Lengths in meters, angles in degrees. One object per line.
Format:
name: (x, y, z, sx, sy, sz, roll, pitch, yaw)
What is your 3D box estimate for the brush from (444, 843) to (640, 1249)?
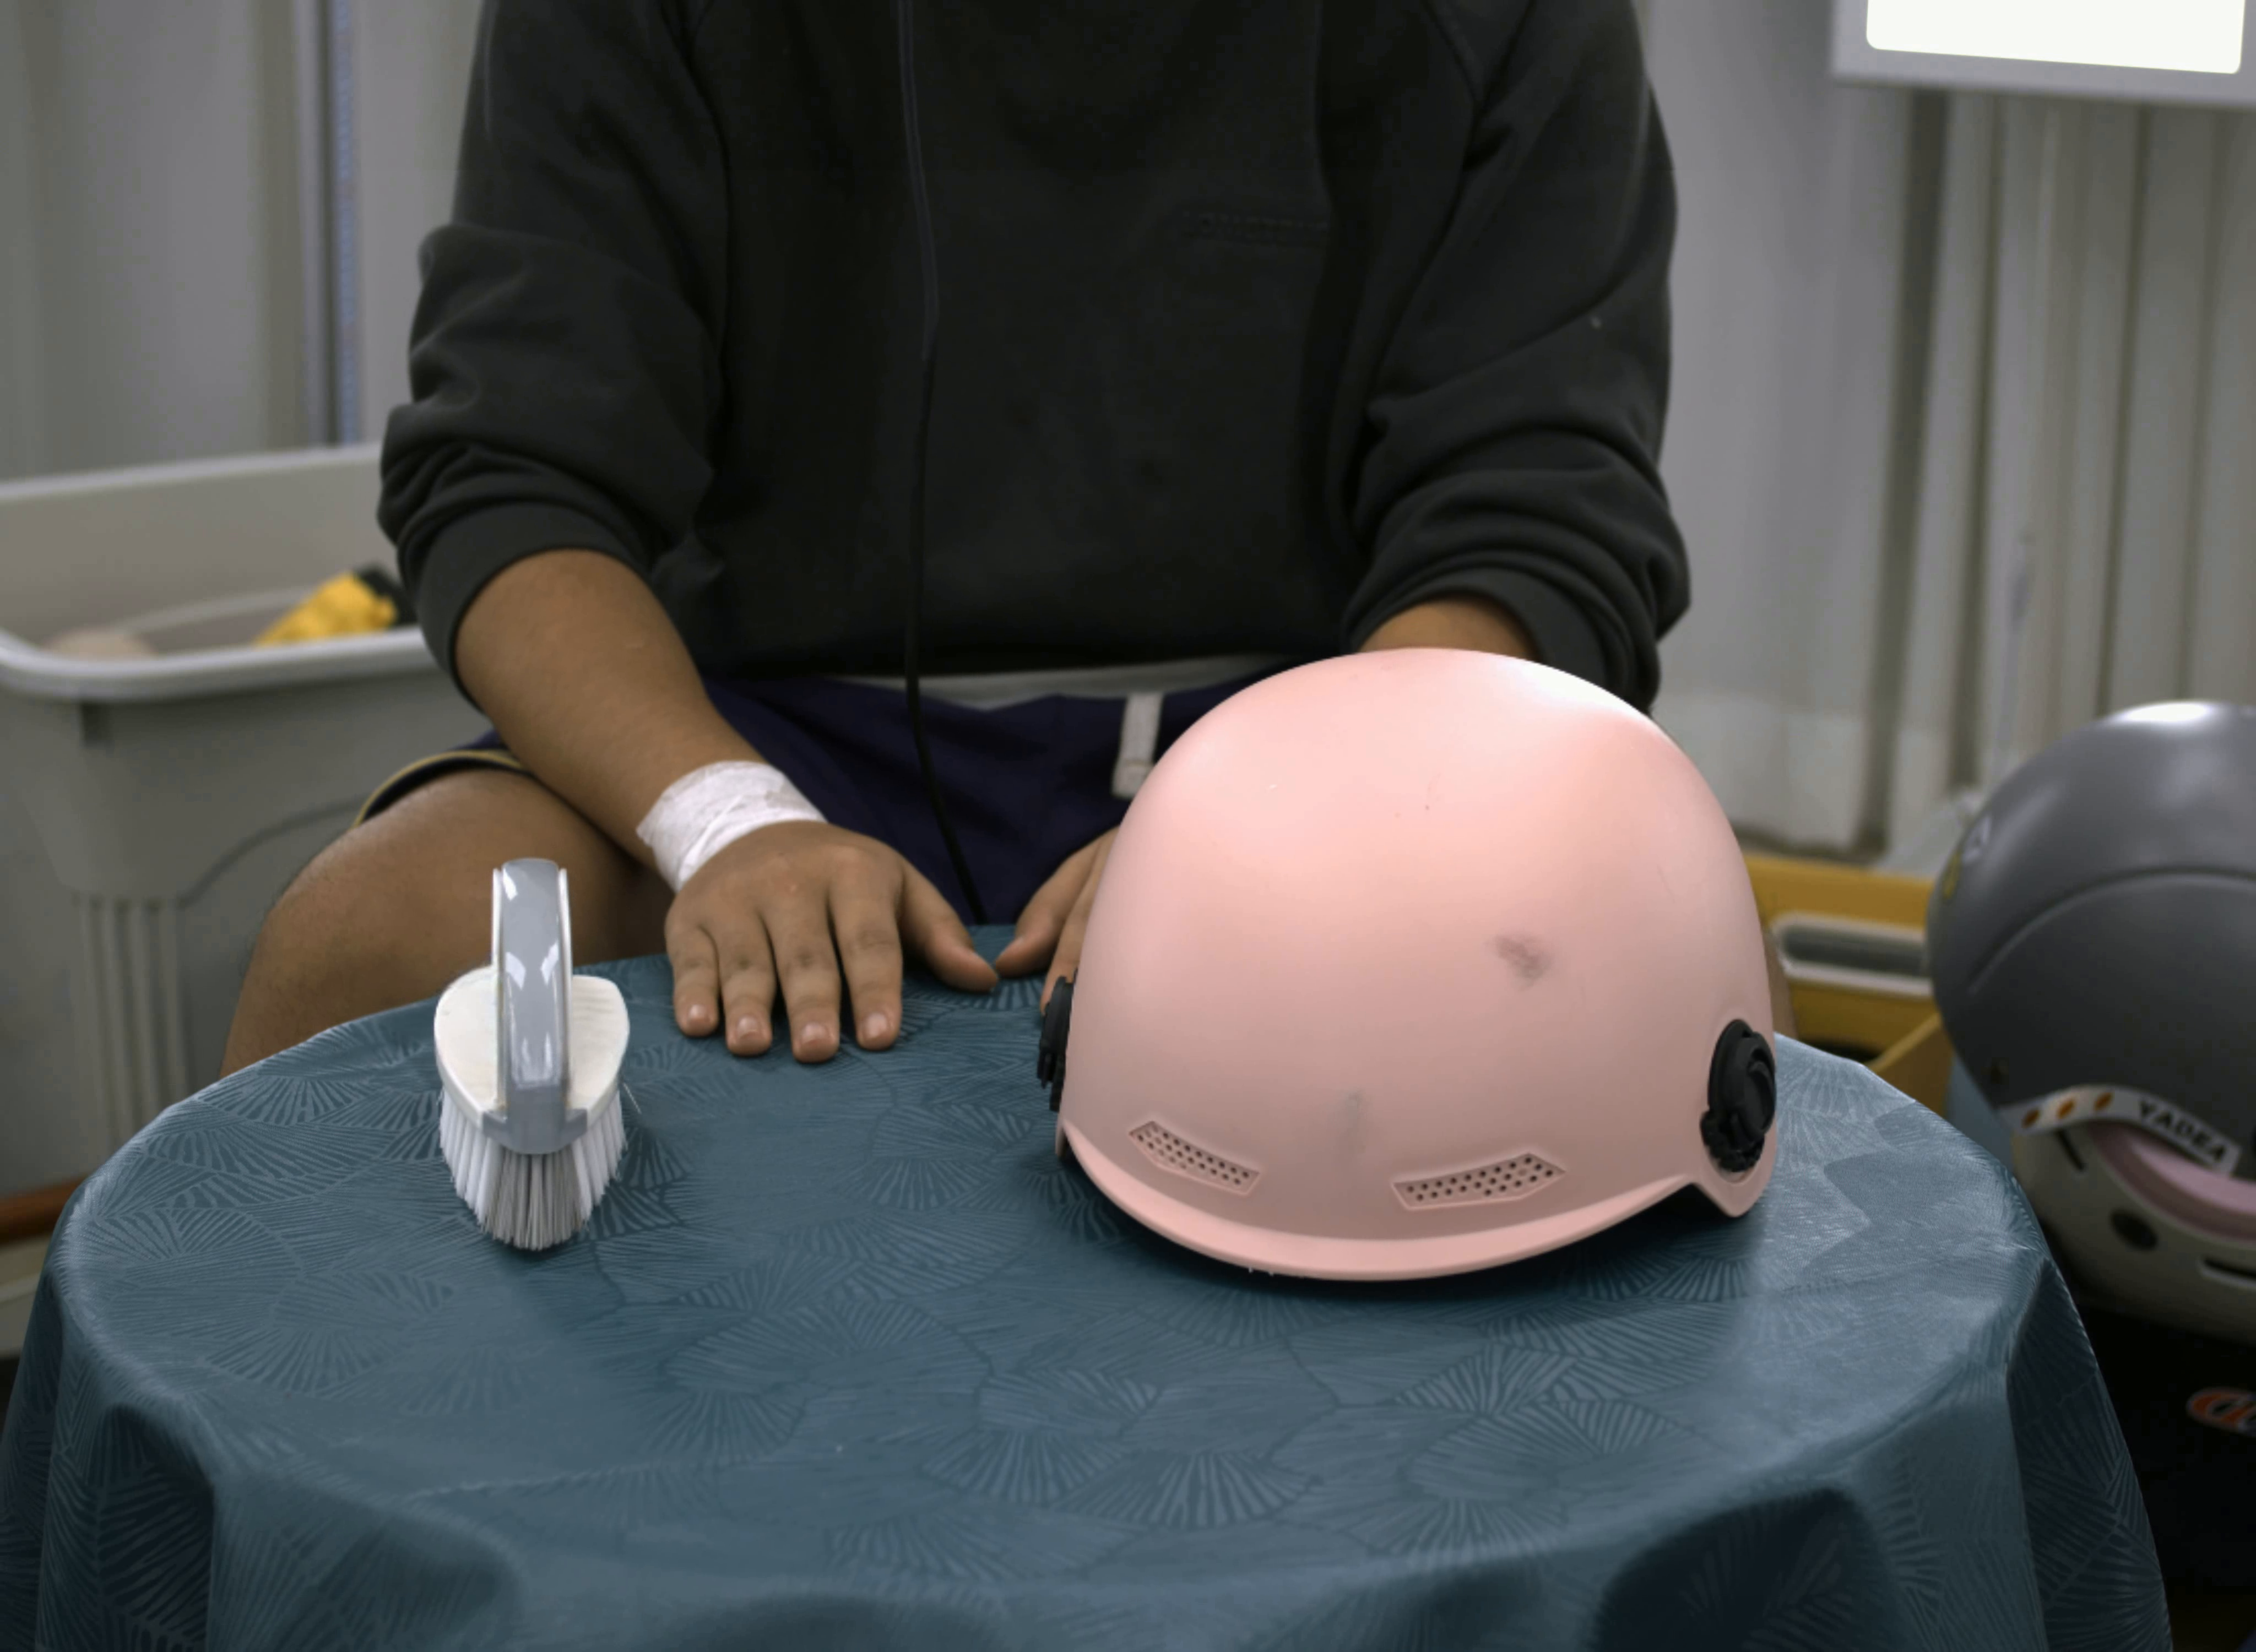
brush: (-0.182, 0.062, 1.628, 0.061, 0.095, 0.174, -3, 18, -6)

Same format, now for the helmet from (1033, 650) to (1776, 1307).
helmet: (0.089, 0.033, 1.630, 0.232, 0.160, 0.265, 5, 20, 13)
